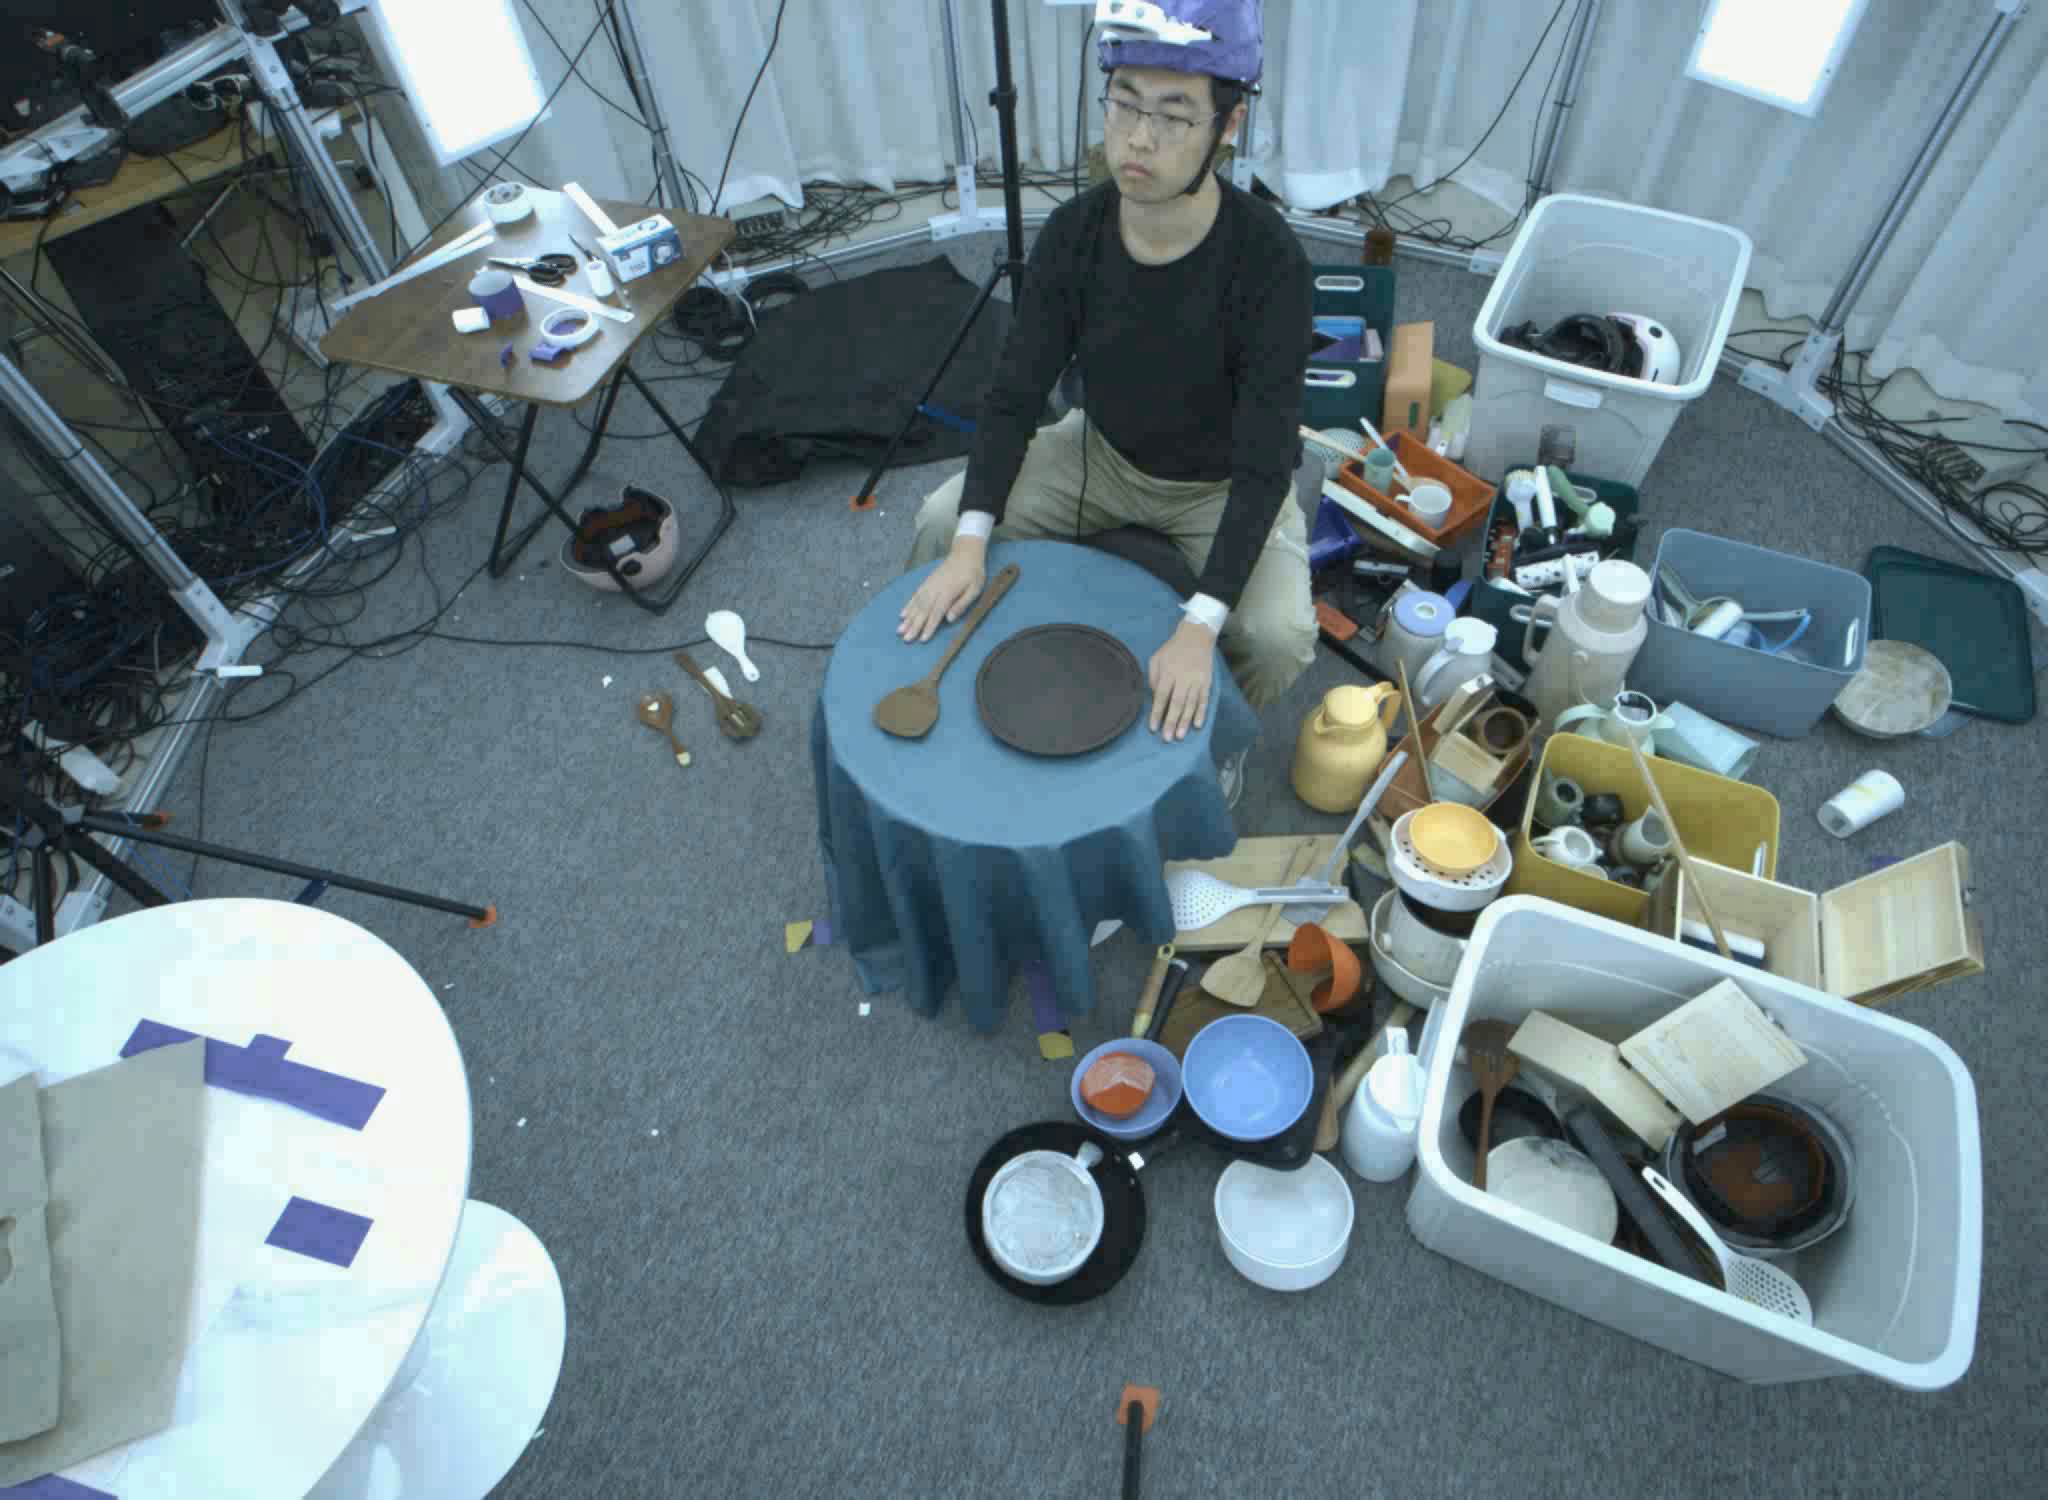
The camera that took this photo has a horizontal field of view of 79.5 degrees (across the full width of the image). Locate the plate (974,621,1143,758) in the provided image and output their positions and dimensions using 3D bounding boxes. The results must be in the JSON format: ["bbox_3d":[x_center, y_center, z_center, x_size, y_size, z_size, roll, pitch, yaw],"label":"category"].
[{"bbox_3d":[0.052,-0.091,1.837,0.254,0.029,0.252,-1,55,3],"label":"plate"}]

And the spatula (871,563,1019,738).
[{"bbox_3d":[-0.106,-0.165,1.899,0.095,0.016,0.386,23,58,16],"label":"spatula"}]
